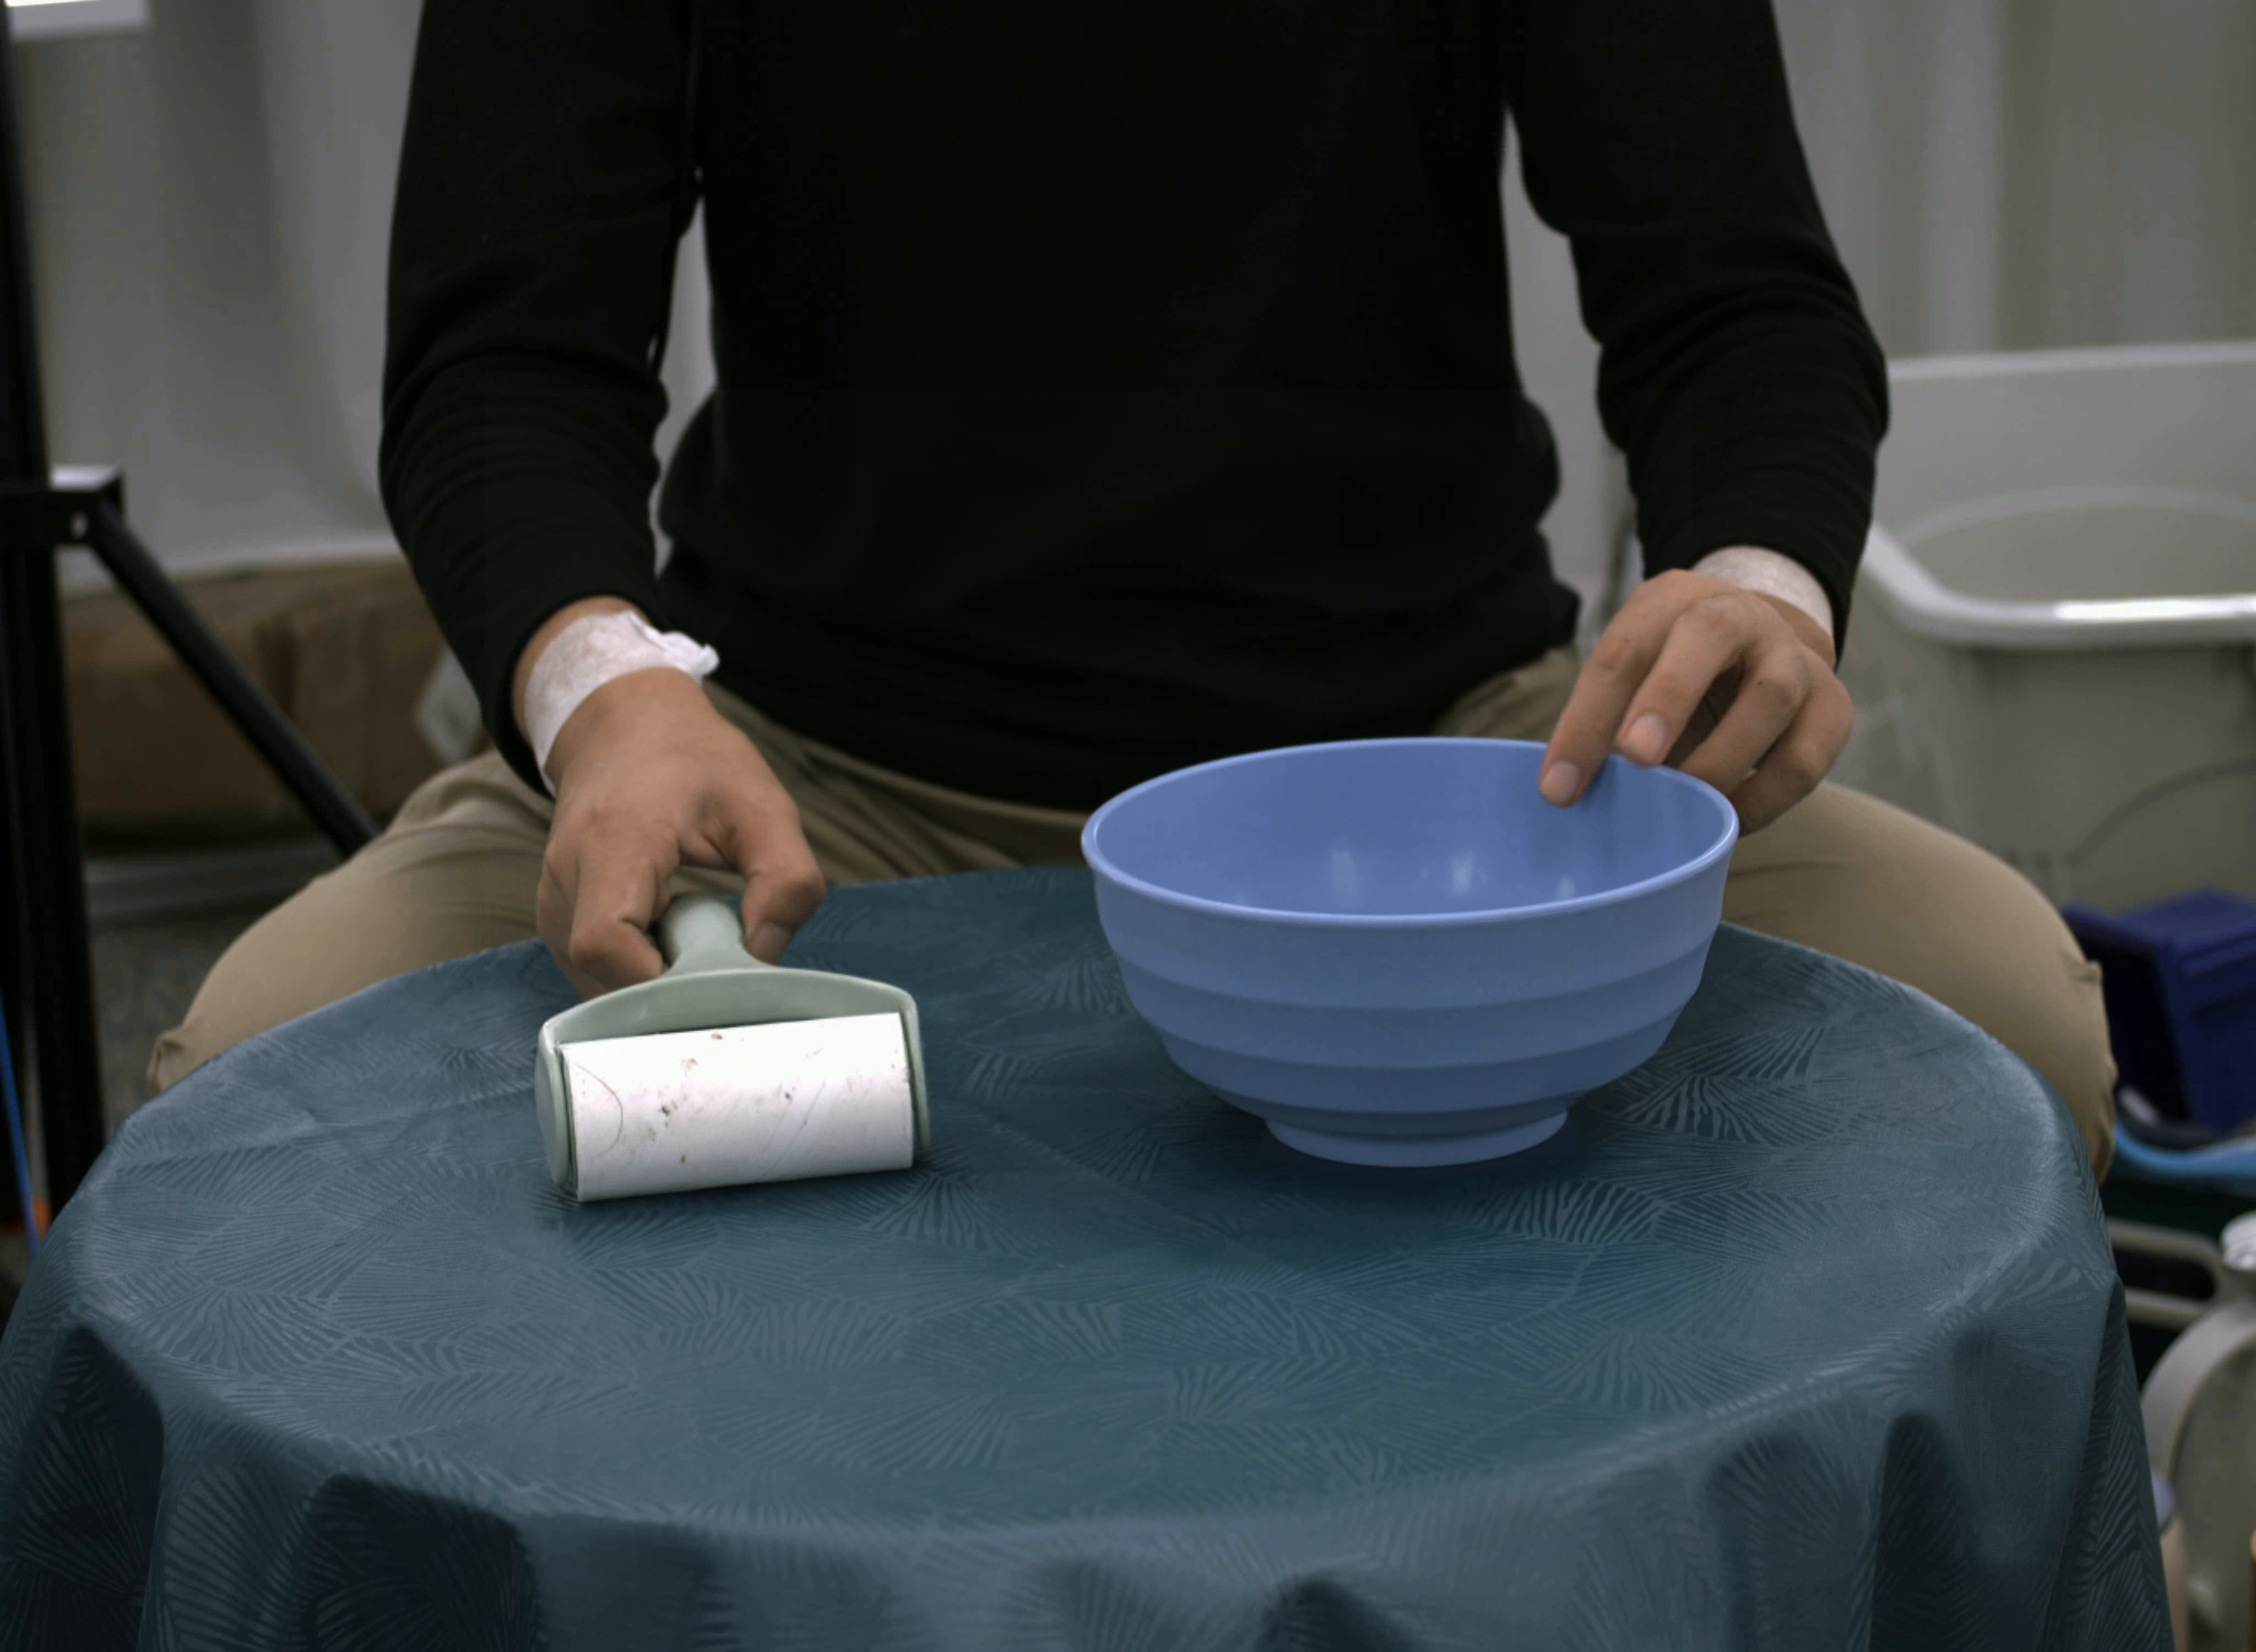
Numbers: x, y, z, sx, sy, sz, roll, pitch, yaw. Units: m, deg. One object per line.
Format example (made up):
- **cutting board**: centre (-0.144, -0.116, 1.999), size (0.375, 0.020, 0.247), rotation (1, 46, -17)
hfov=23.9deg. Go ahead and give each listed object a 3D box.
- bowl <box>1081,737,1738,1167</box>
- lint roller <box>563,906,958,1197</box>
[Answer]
- **bowl**: centre (0.086, 0.043, 1.596), size (0.195, 0.095, 0.197), rotation (-4, 16, 0)
- **lint roller**: centre (-0.121, 0.056, 1.647), size (0.115, 0.048, 0.200), rotation (-7, 22, -8)
